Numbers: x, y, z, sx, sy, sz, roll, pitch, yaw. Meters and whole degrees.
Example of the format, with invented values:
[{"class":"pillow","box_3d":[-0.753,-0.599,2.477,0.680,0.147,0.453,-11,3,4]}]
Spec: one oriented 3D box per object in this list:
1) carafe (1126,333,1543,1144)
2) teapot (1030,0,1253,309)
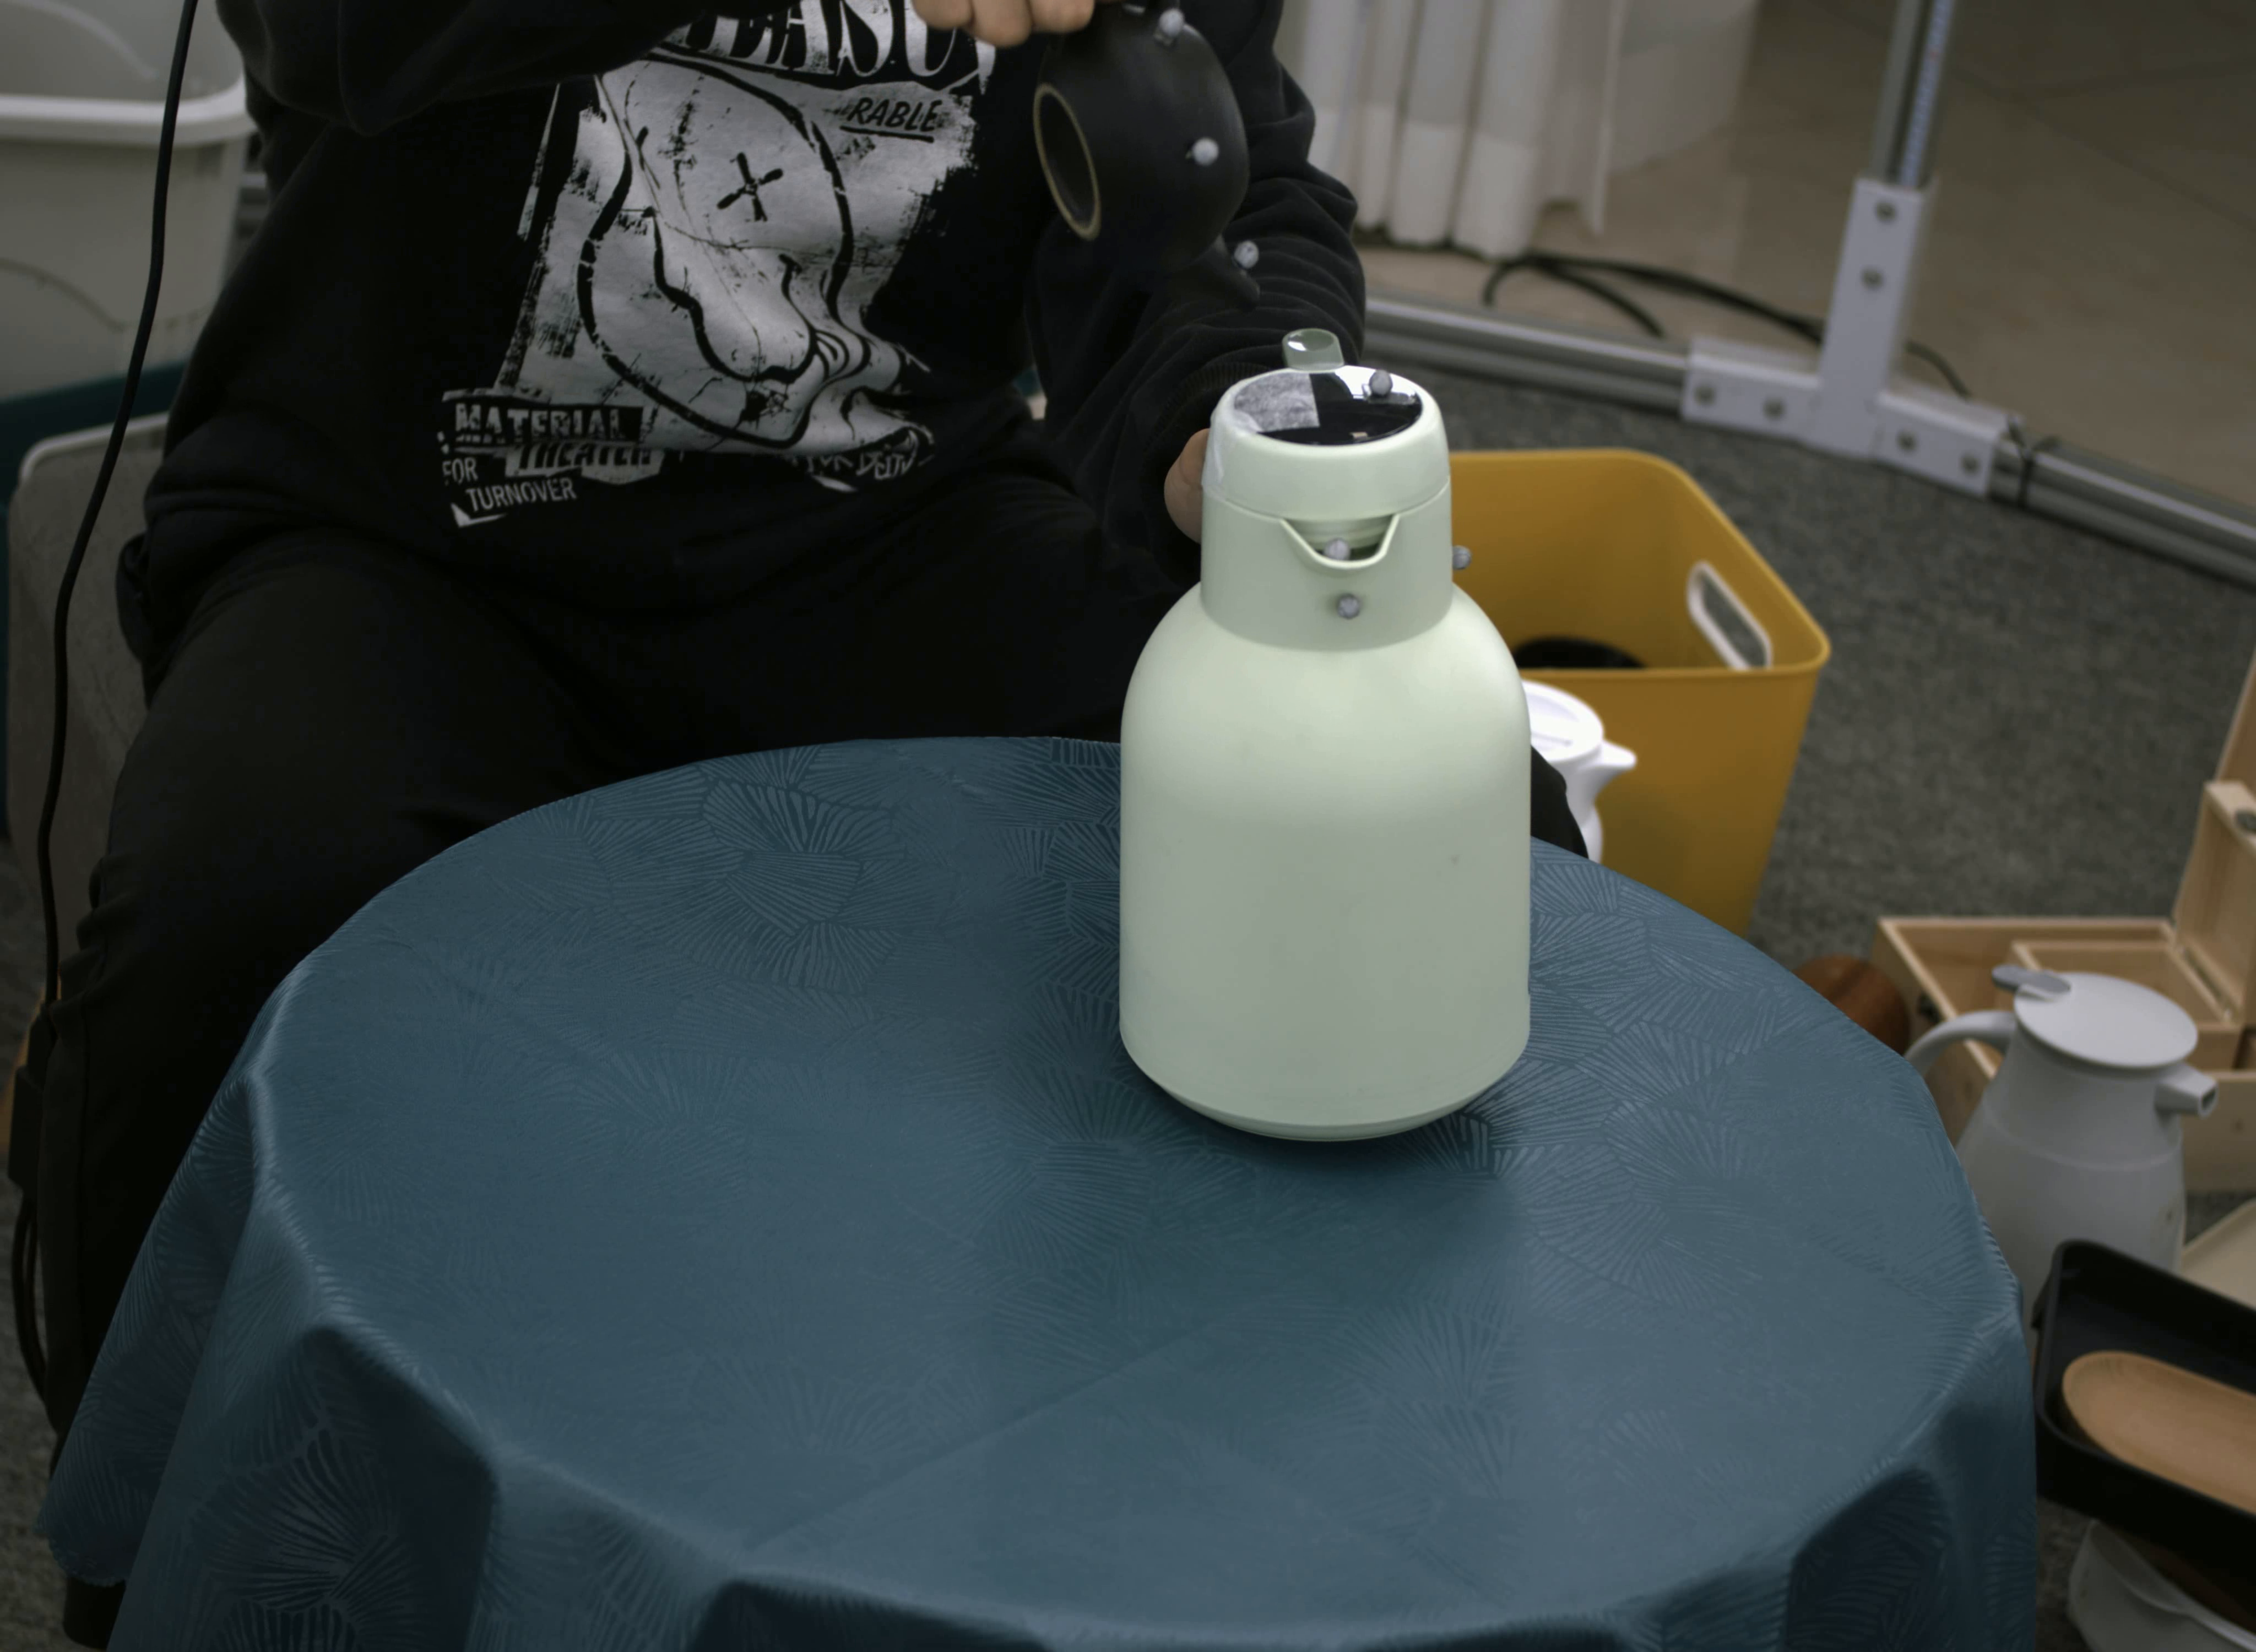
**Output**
[{"class":"carafe","box_3d":[0.068,-0.035,1.845,0.144,0.256,0.188,-5,24,-3]},{"class":"teapot","box_3d":[0.002,-0.227,1.745,0.053,0.133,0.091,-18,13,-16]}]
